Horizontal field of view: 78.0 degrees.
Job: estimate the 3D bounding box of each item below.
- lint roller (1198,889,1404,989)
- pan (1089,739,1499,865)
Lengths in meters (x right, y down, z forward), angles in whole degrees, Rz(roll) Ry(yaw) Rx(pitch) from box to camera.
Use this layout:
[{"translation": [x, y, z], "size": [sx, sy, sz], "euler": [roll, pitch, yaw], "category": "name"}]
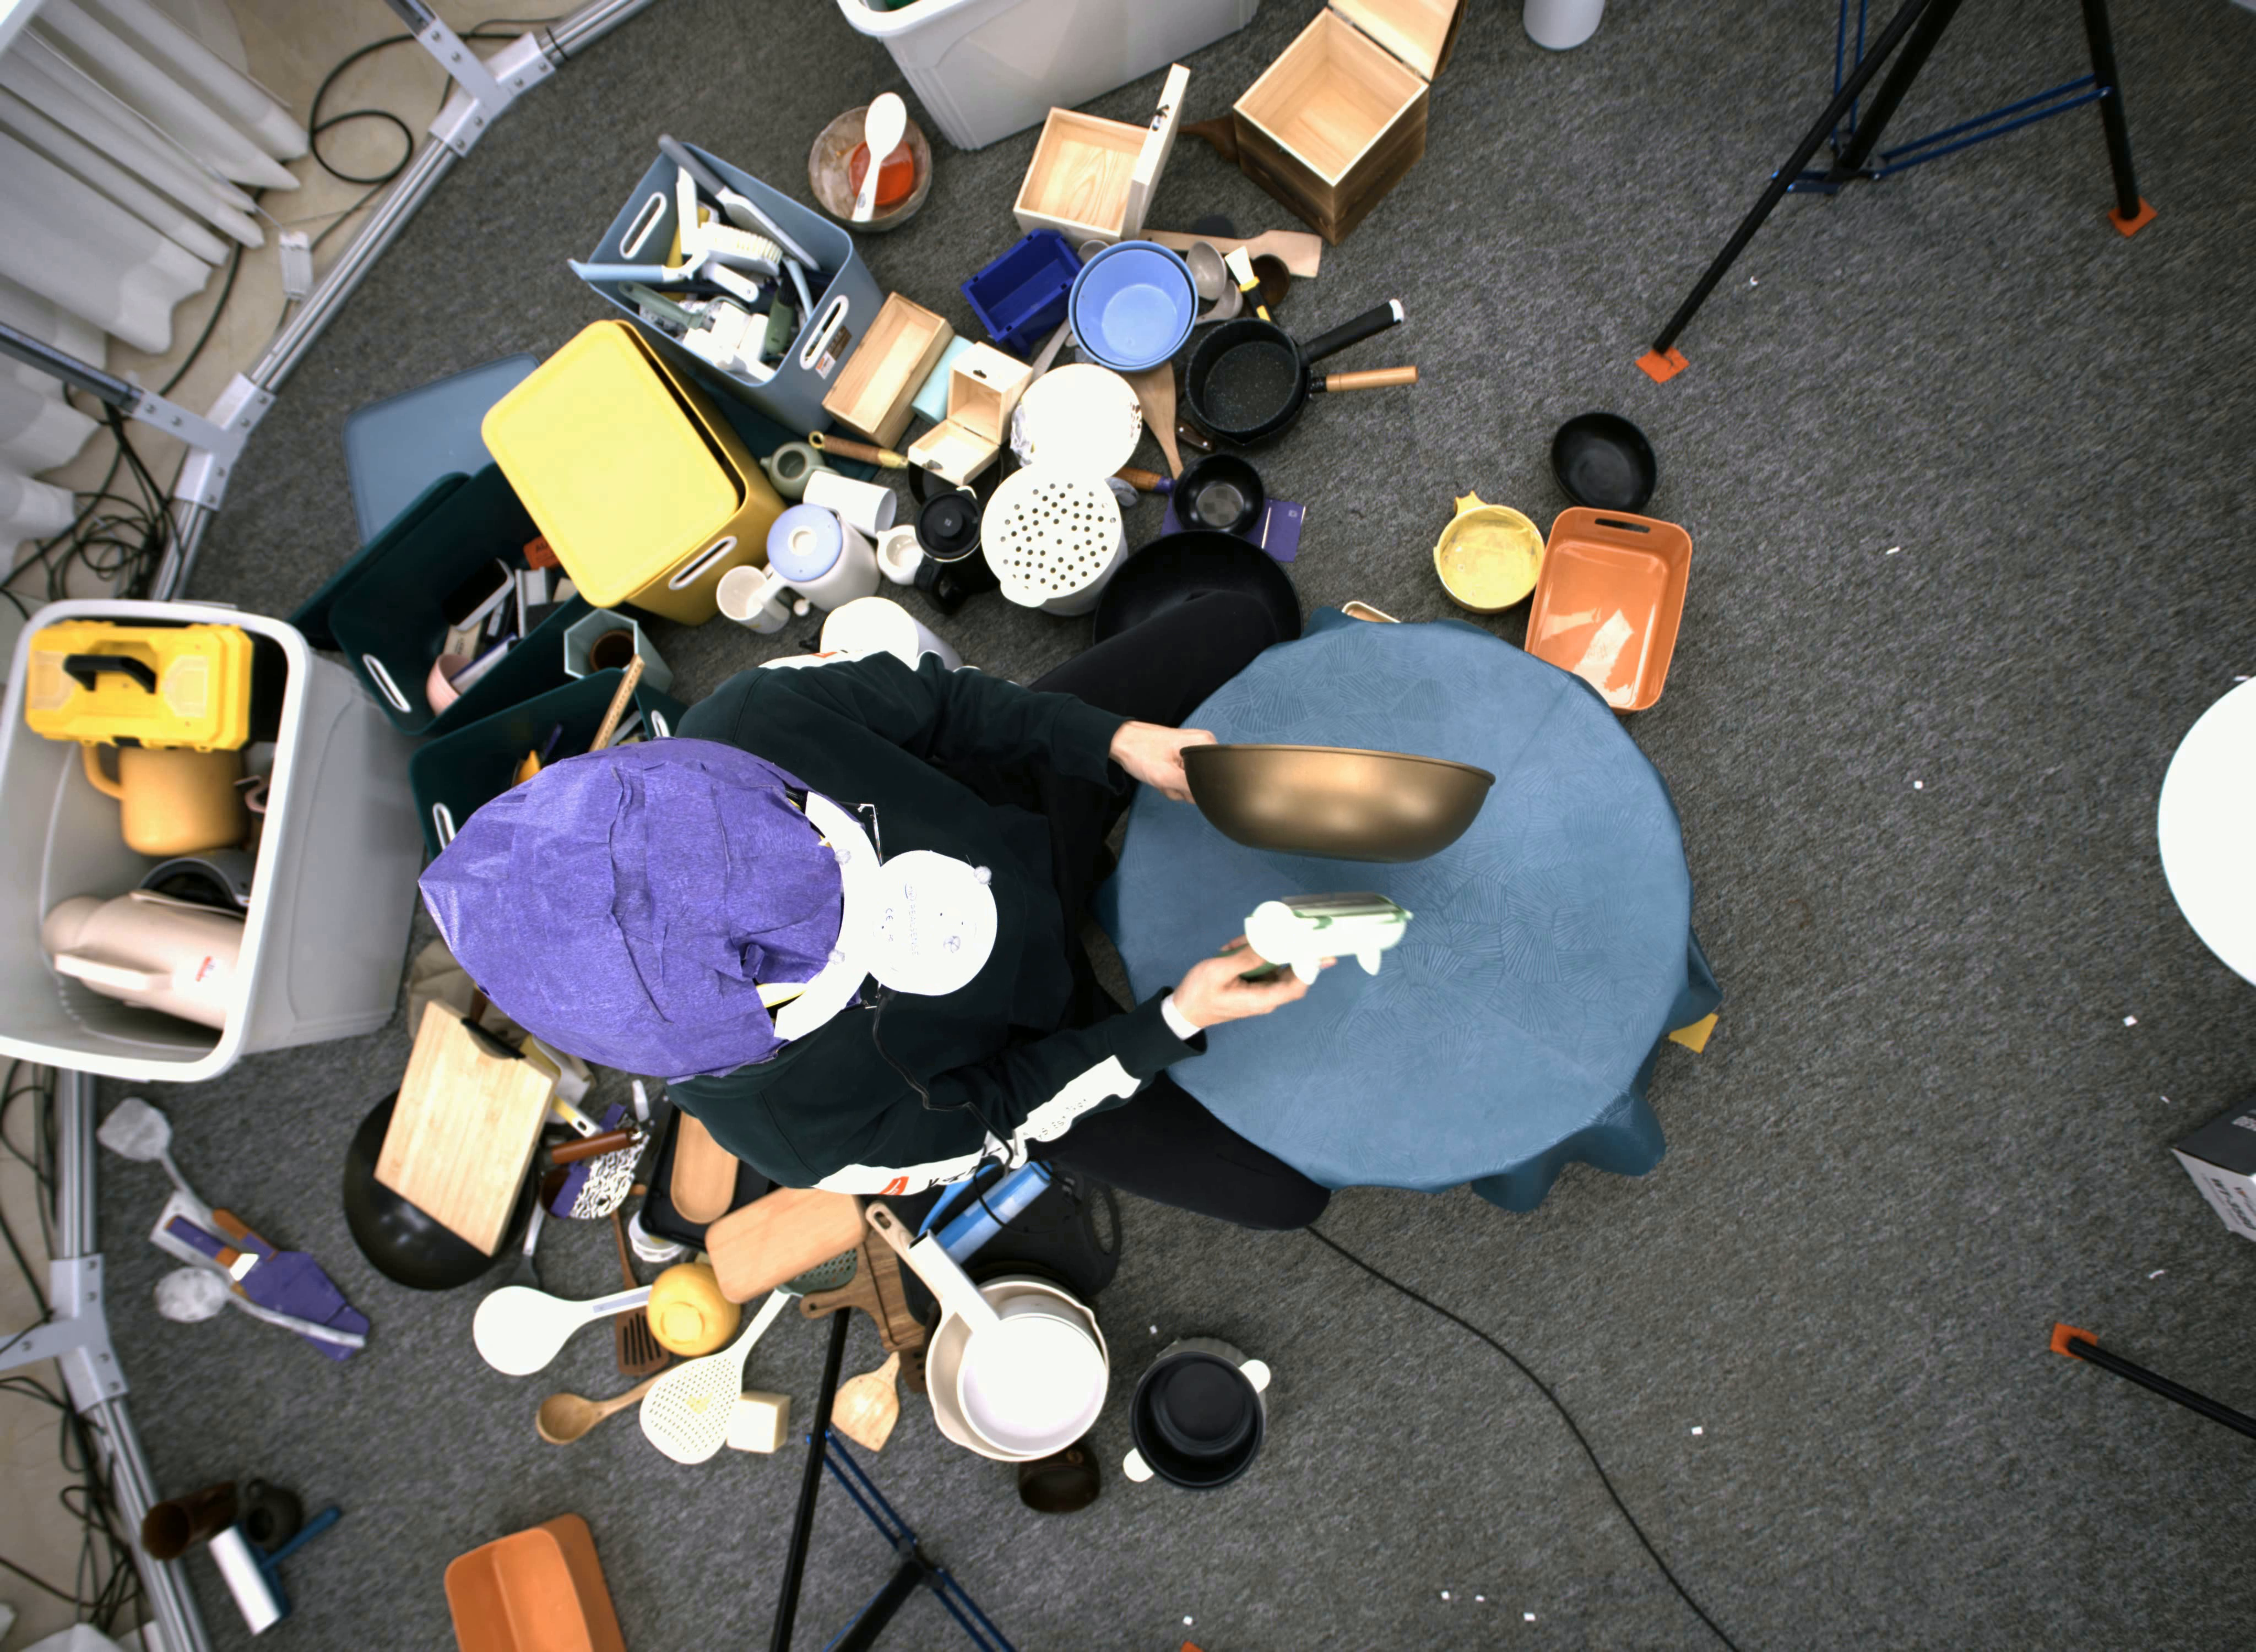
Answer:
[{"translation": [0.144, 0.125, 1.282], "size": [0.187, 0.197, 0.081], "euler": [-40, 68, 32], "category": "lint roller"}, {"translation": [0.117, -0.018, 1.283], "size": [0.466, 0.287, 0.086], "euler": [2, 84, 46], "category": "pan"}]
